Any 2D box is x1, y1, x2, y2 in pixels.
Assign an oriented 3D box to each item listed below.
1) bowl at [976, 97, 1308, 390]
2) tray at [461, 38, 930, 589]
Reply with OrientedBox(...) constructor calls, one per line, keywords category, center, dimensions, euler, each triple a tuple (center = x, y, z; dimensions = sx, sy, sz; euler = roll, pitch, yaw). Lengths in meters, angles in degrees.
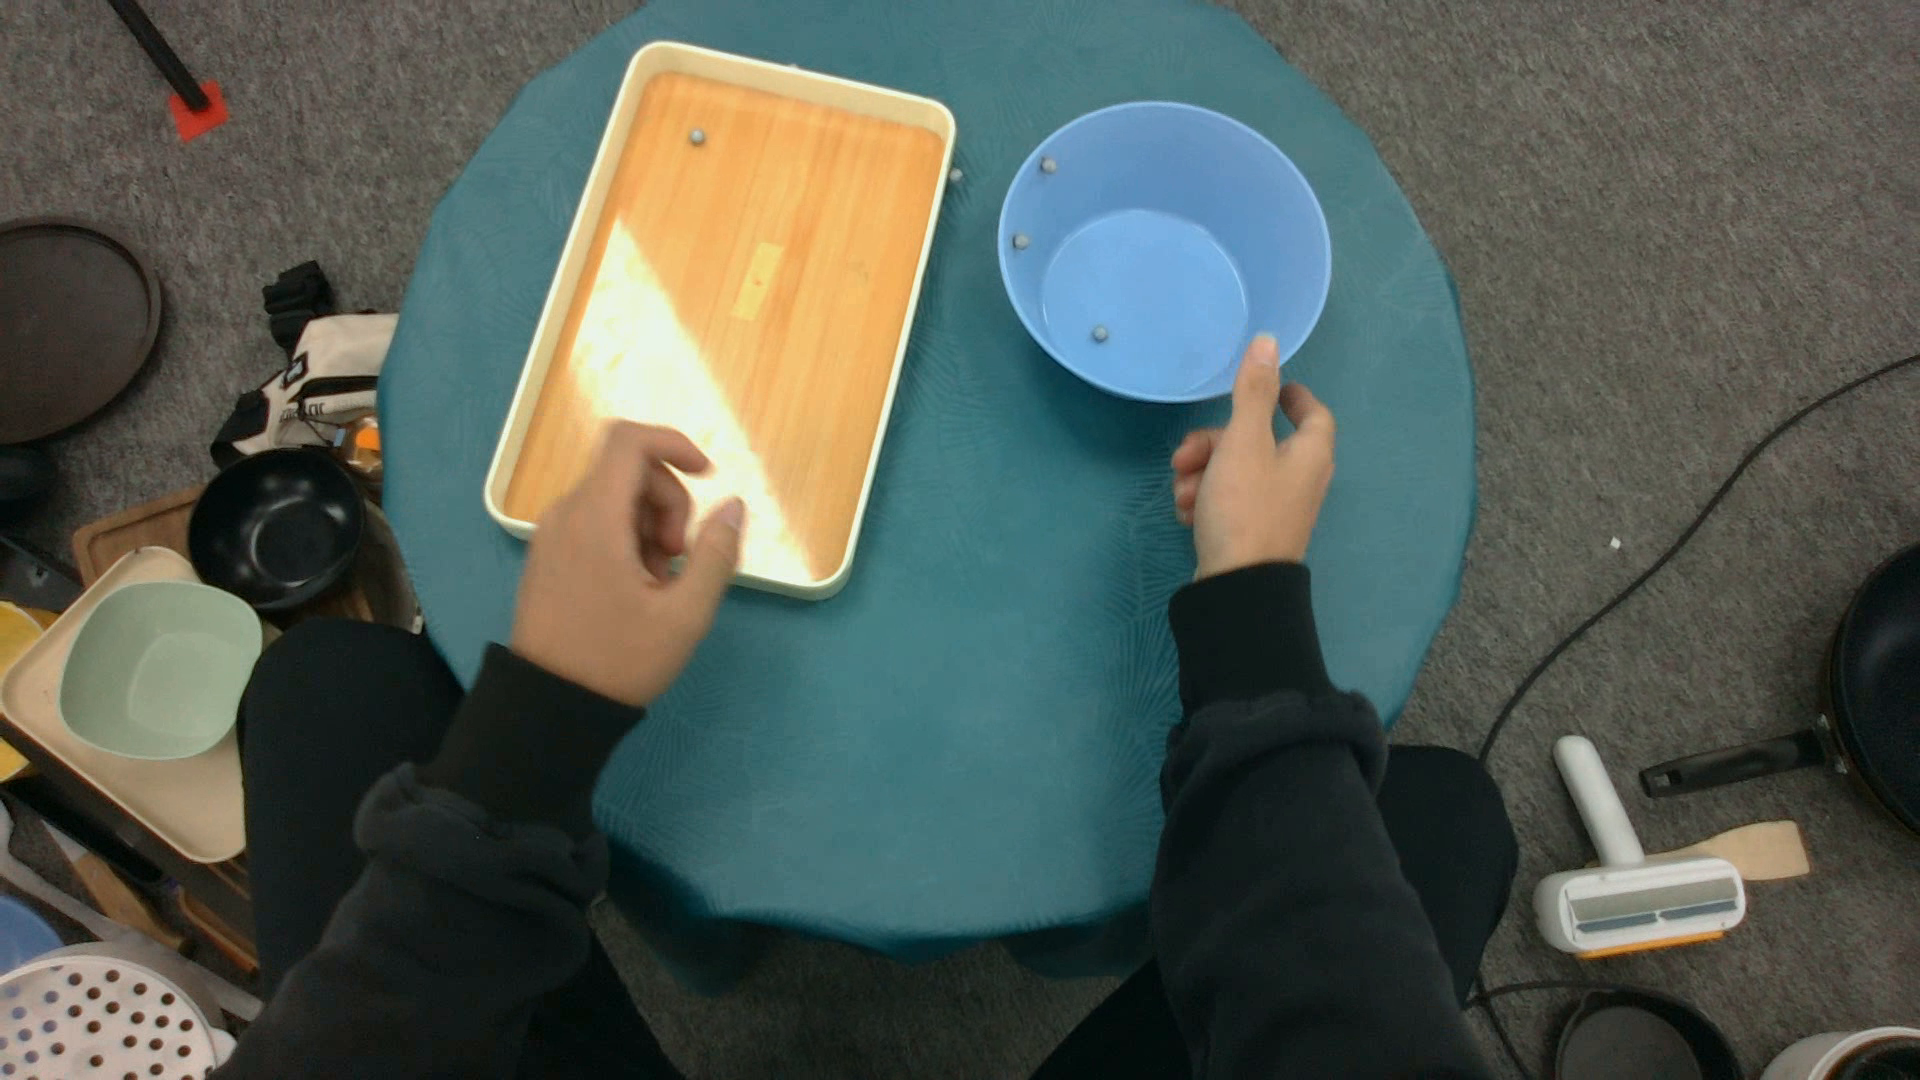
OrientedBox(category="bowl", center=(0.094, -0.149, 0.752), dimensions=(0.176, 0.070, 0.176), euler=(1, 70, -3))
OrientedBox(category="tray", center=(-0.135, -0.131, 0.752), dimensions=(0.191, 0.027, 0.301), euler=(12, 71, 0))
